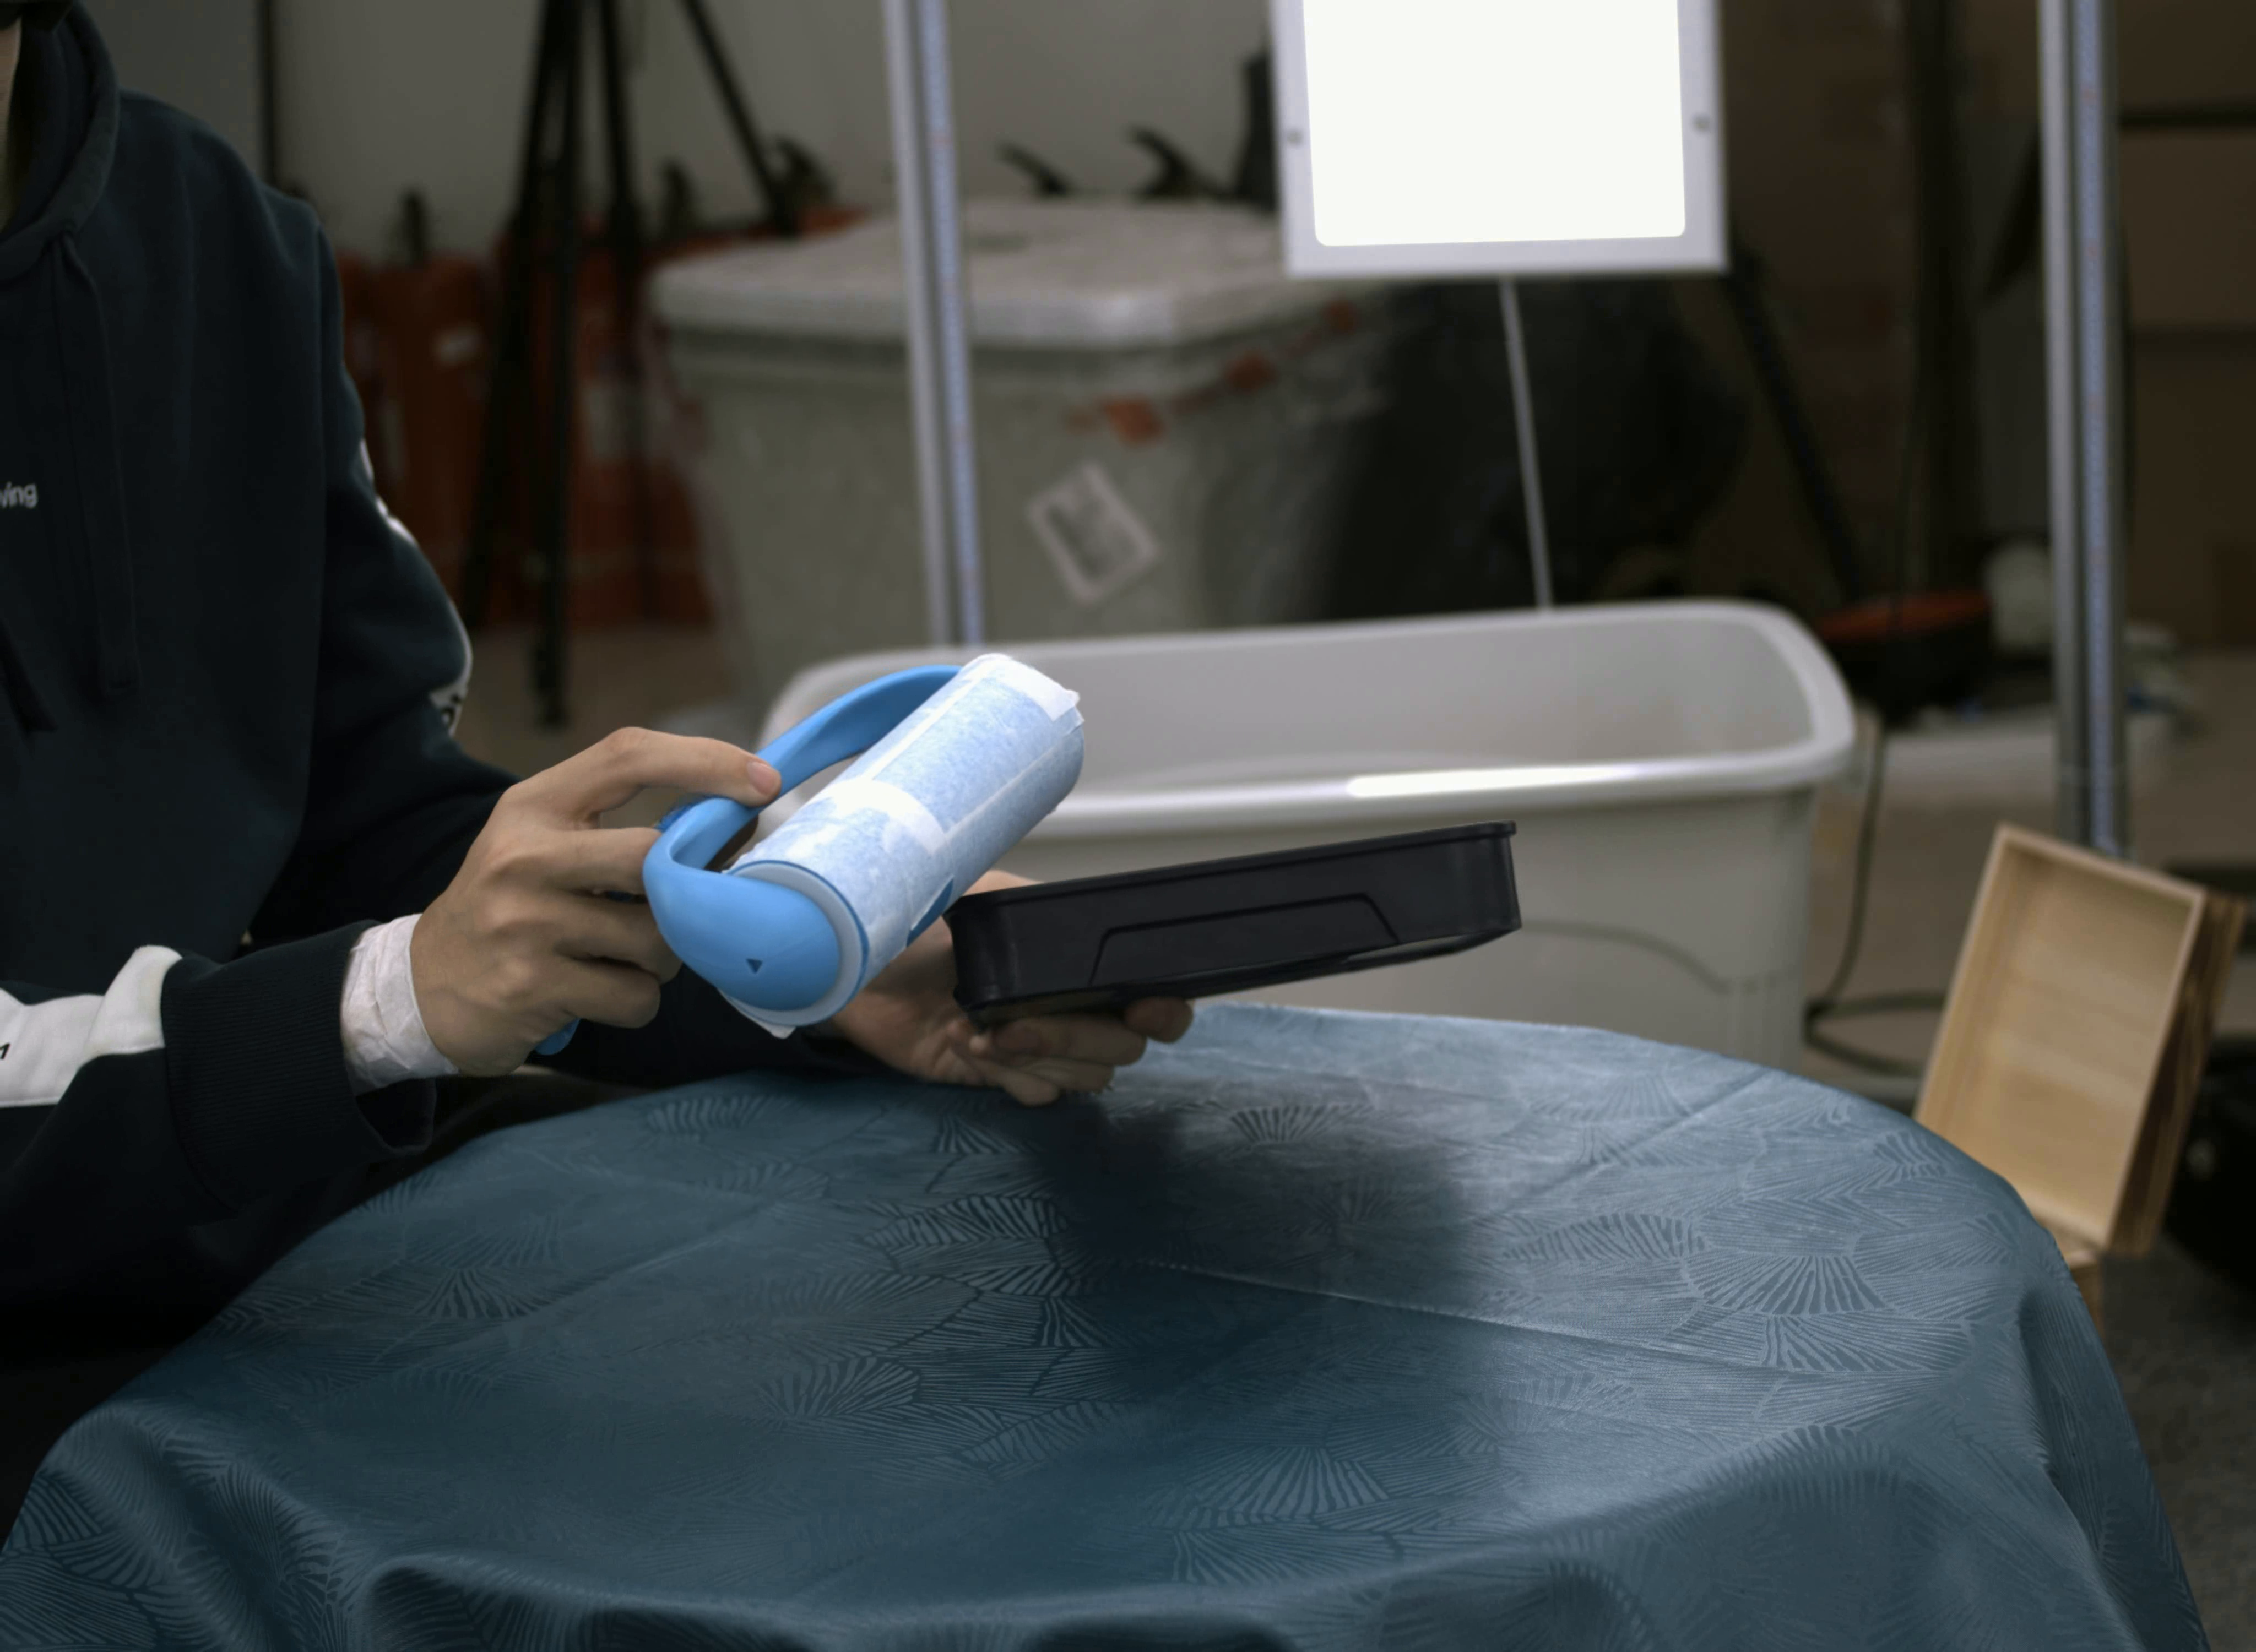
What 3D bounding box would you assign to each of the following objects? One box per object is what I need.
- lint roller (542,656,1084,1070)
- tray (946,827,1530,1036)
[{"bbox_3d":[-0.121,0.020,1.720,0.183,0.068,0.225,-22,12,24],"label":"lint roller"},{"bbox_3d":[0.032,0.038,1.855,0.183,0.037,0.318,-10,-2,-2],"label":"tray"}]
